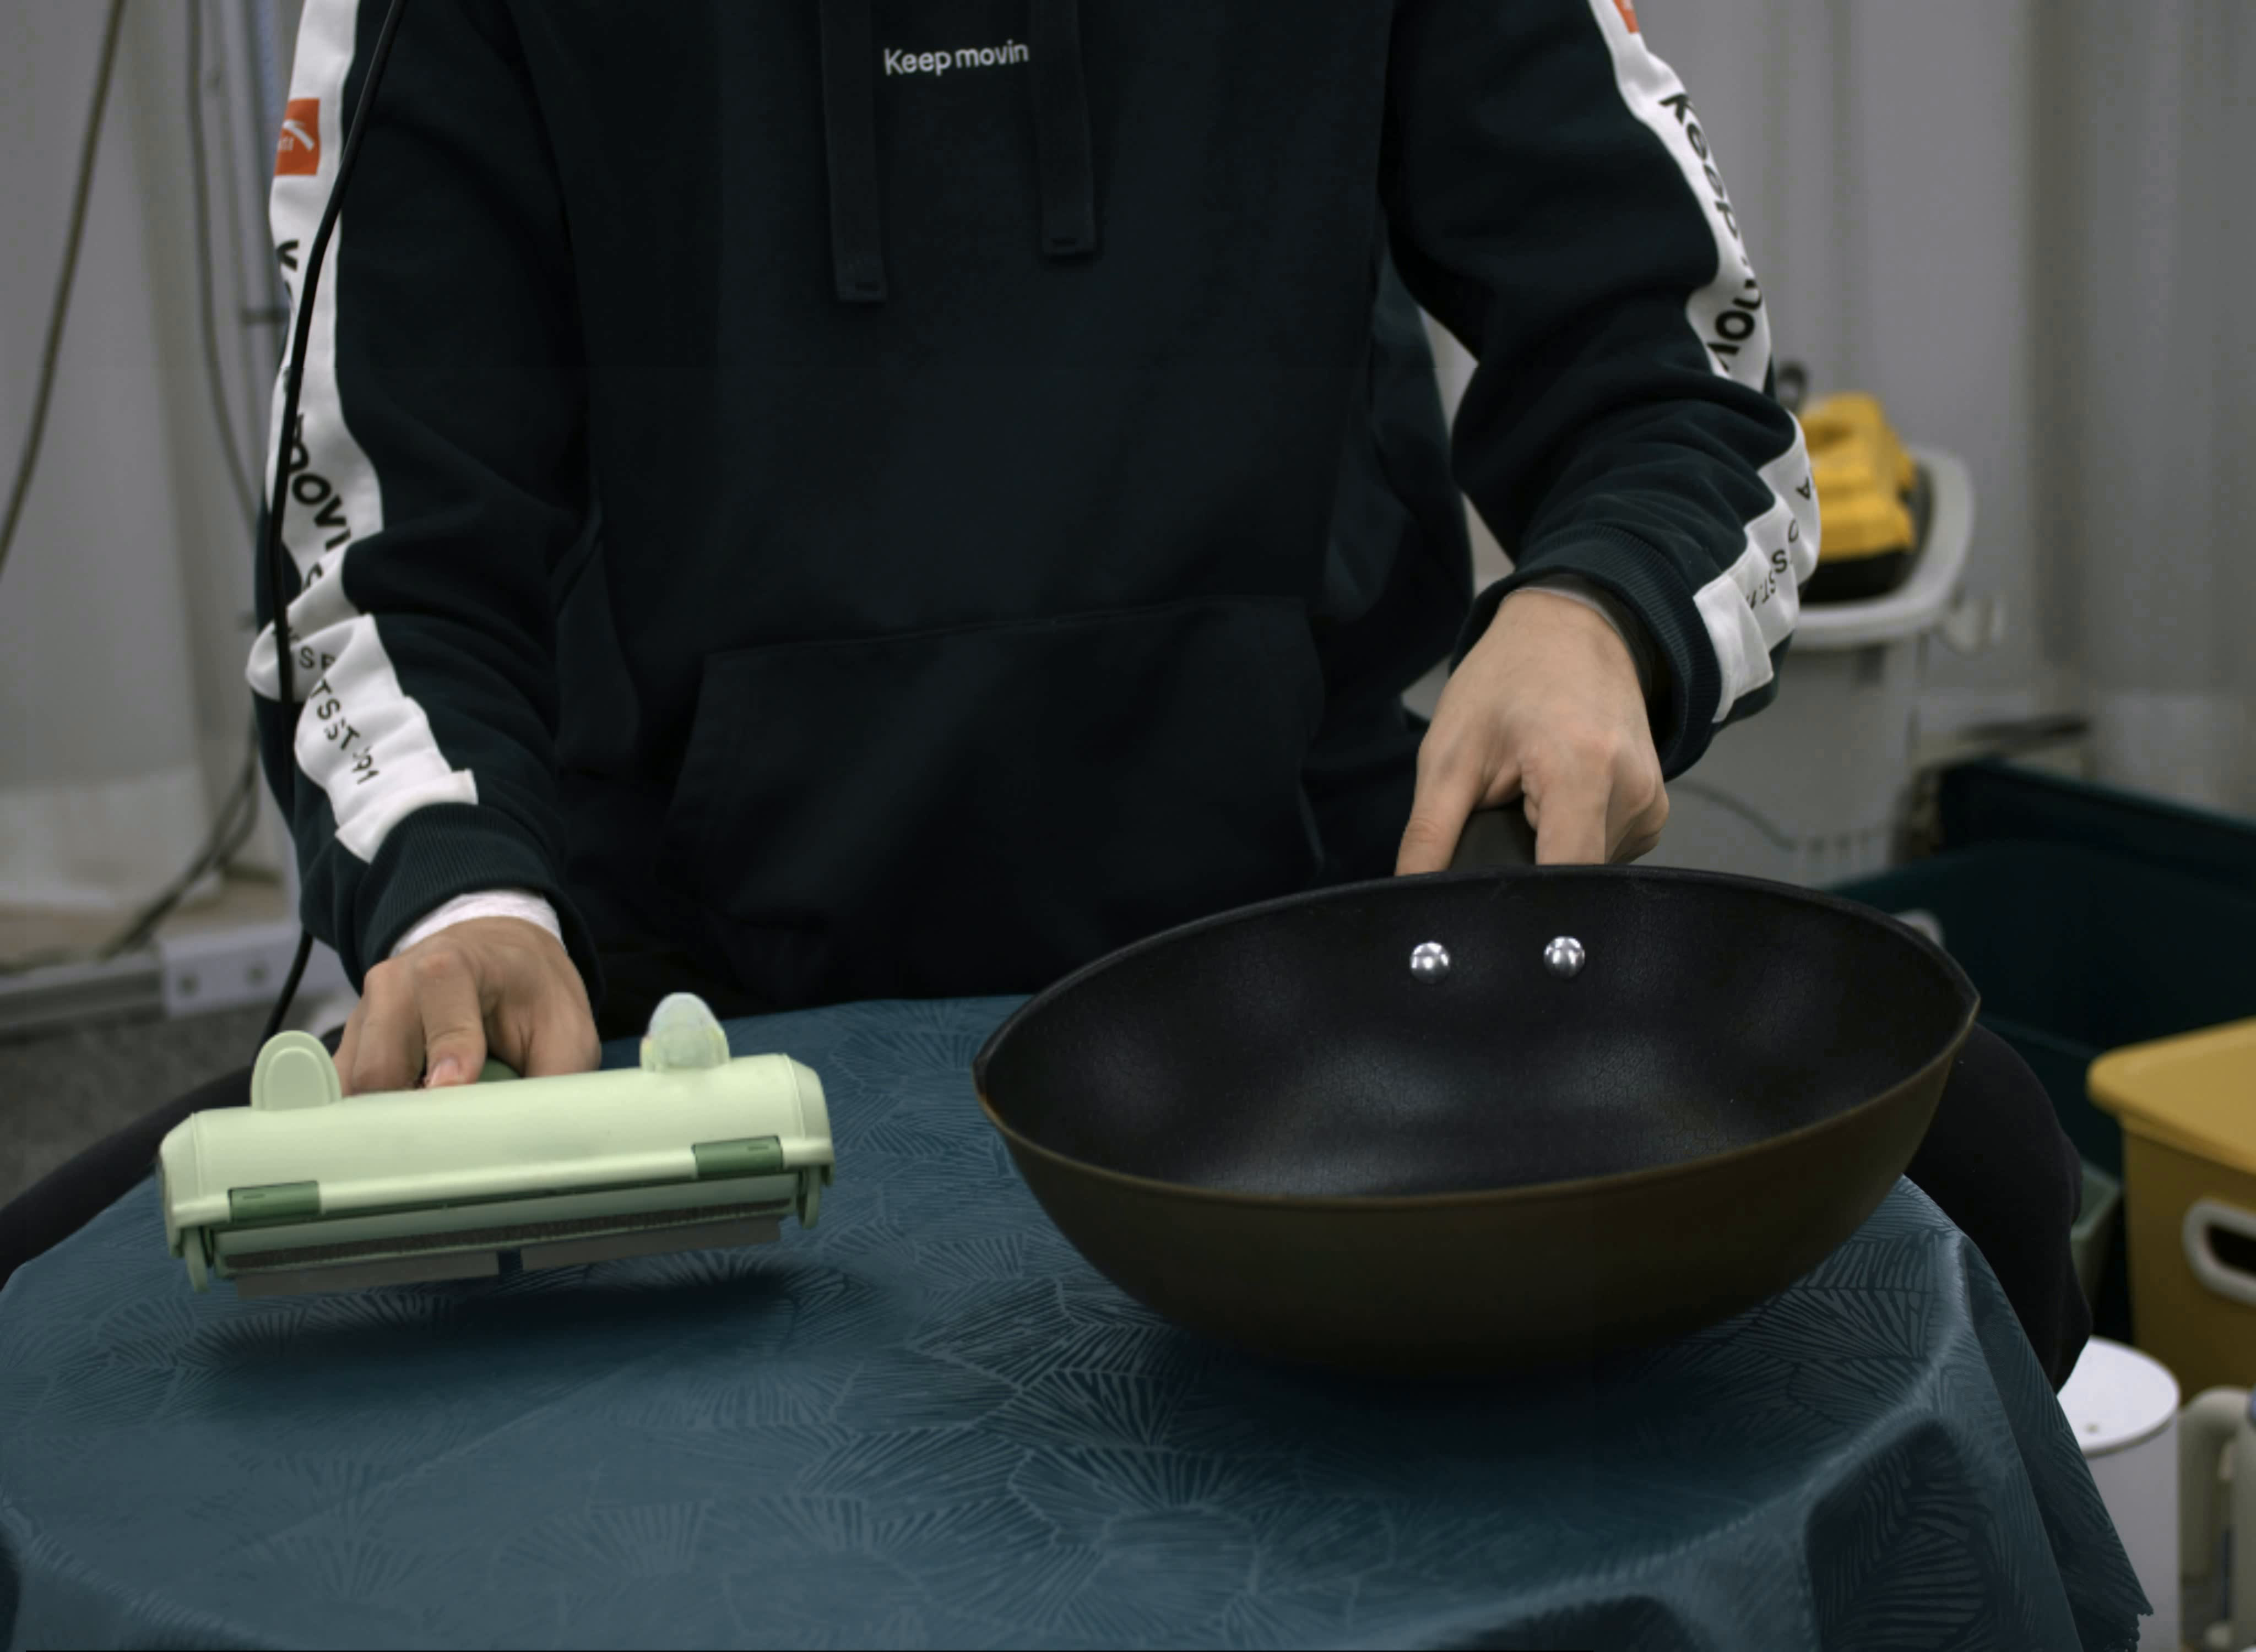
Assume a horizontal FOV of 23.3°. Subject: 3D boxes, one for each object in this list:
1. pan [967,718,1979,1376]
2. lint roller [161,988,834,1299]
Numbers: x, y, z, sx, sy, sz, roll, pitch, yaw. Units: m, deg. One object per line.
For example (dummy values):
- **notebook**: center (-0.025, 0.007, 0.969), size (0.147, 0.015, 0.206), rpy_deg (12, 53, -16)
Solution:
- **pan**: center (0.108, 0.065, 1.647), size (0.287, 0.086, 0.466), rpy_deg (-4, 16, 7)
- **lint roller**: center (-0.198, 0.080, 1.674), size (0.198, 0.082, 0.185), rpy_deg (-6, 19, -10)
